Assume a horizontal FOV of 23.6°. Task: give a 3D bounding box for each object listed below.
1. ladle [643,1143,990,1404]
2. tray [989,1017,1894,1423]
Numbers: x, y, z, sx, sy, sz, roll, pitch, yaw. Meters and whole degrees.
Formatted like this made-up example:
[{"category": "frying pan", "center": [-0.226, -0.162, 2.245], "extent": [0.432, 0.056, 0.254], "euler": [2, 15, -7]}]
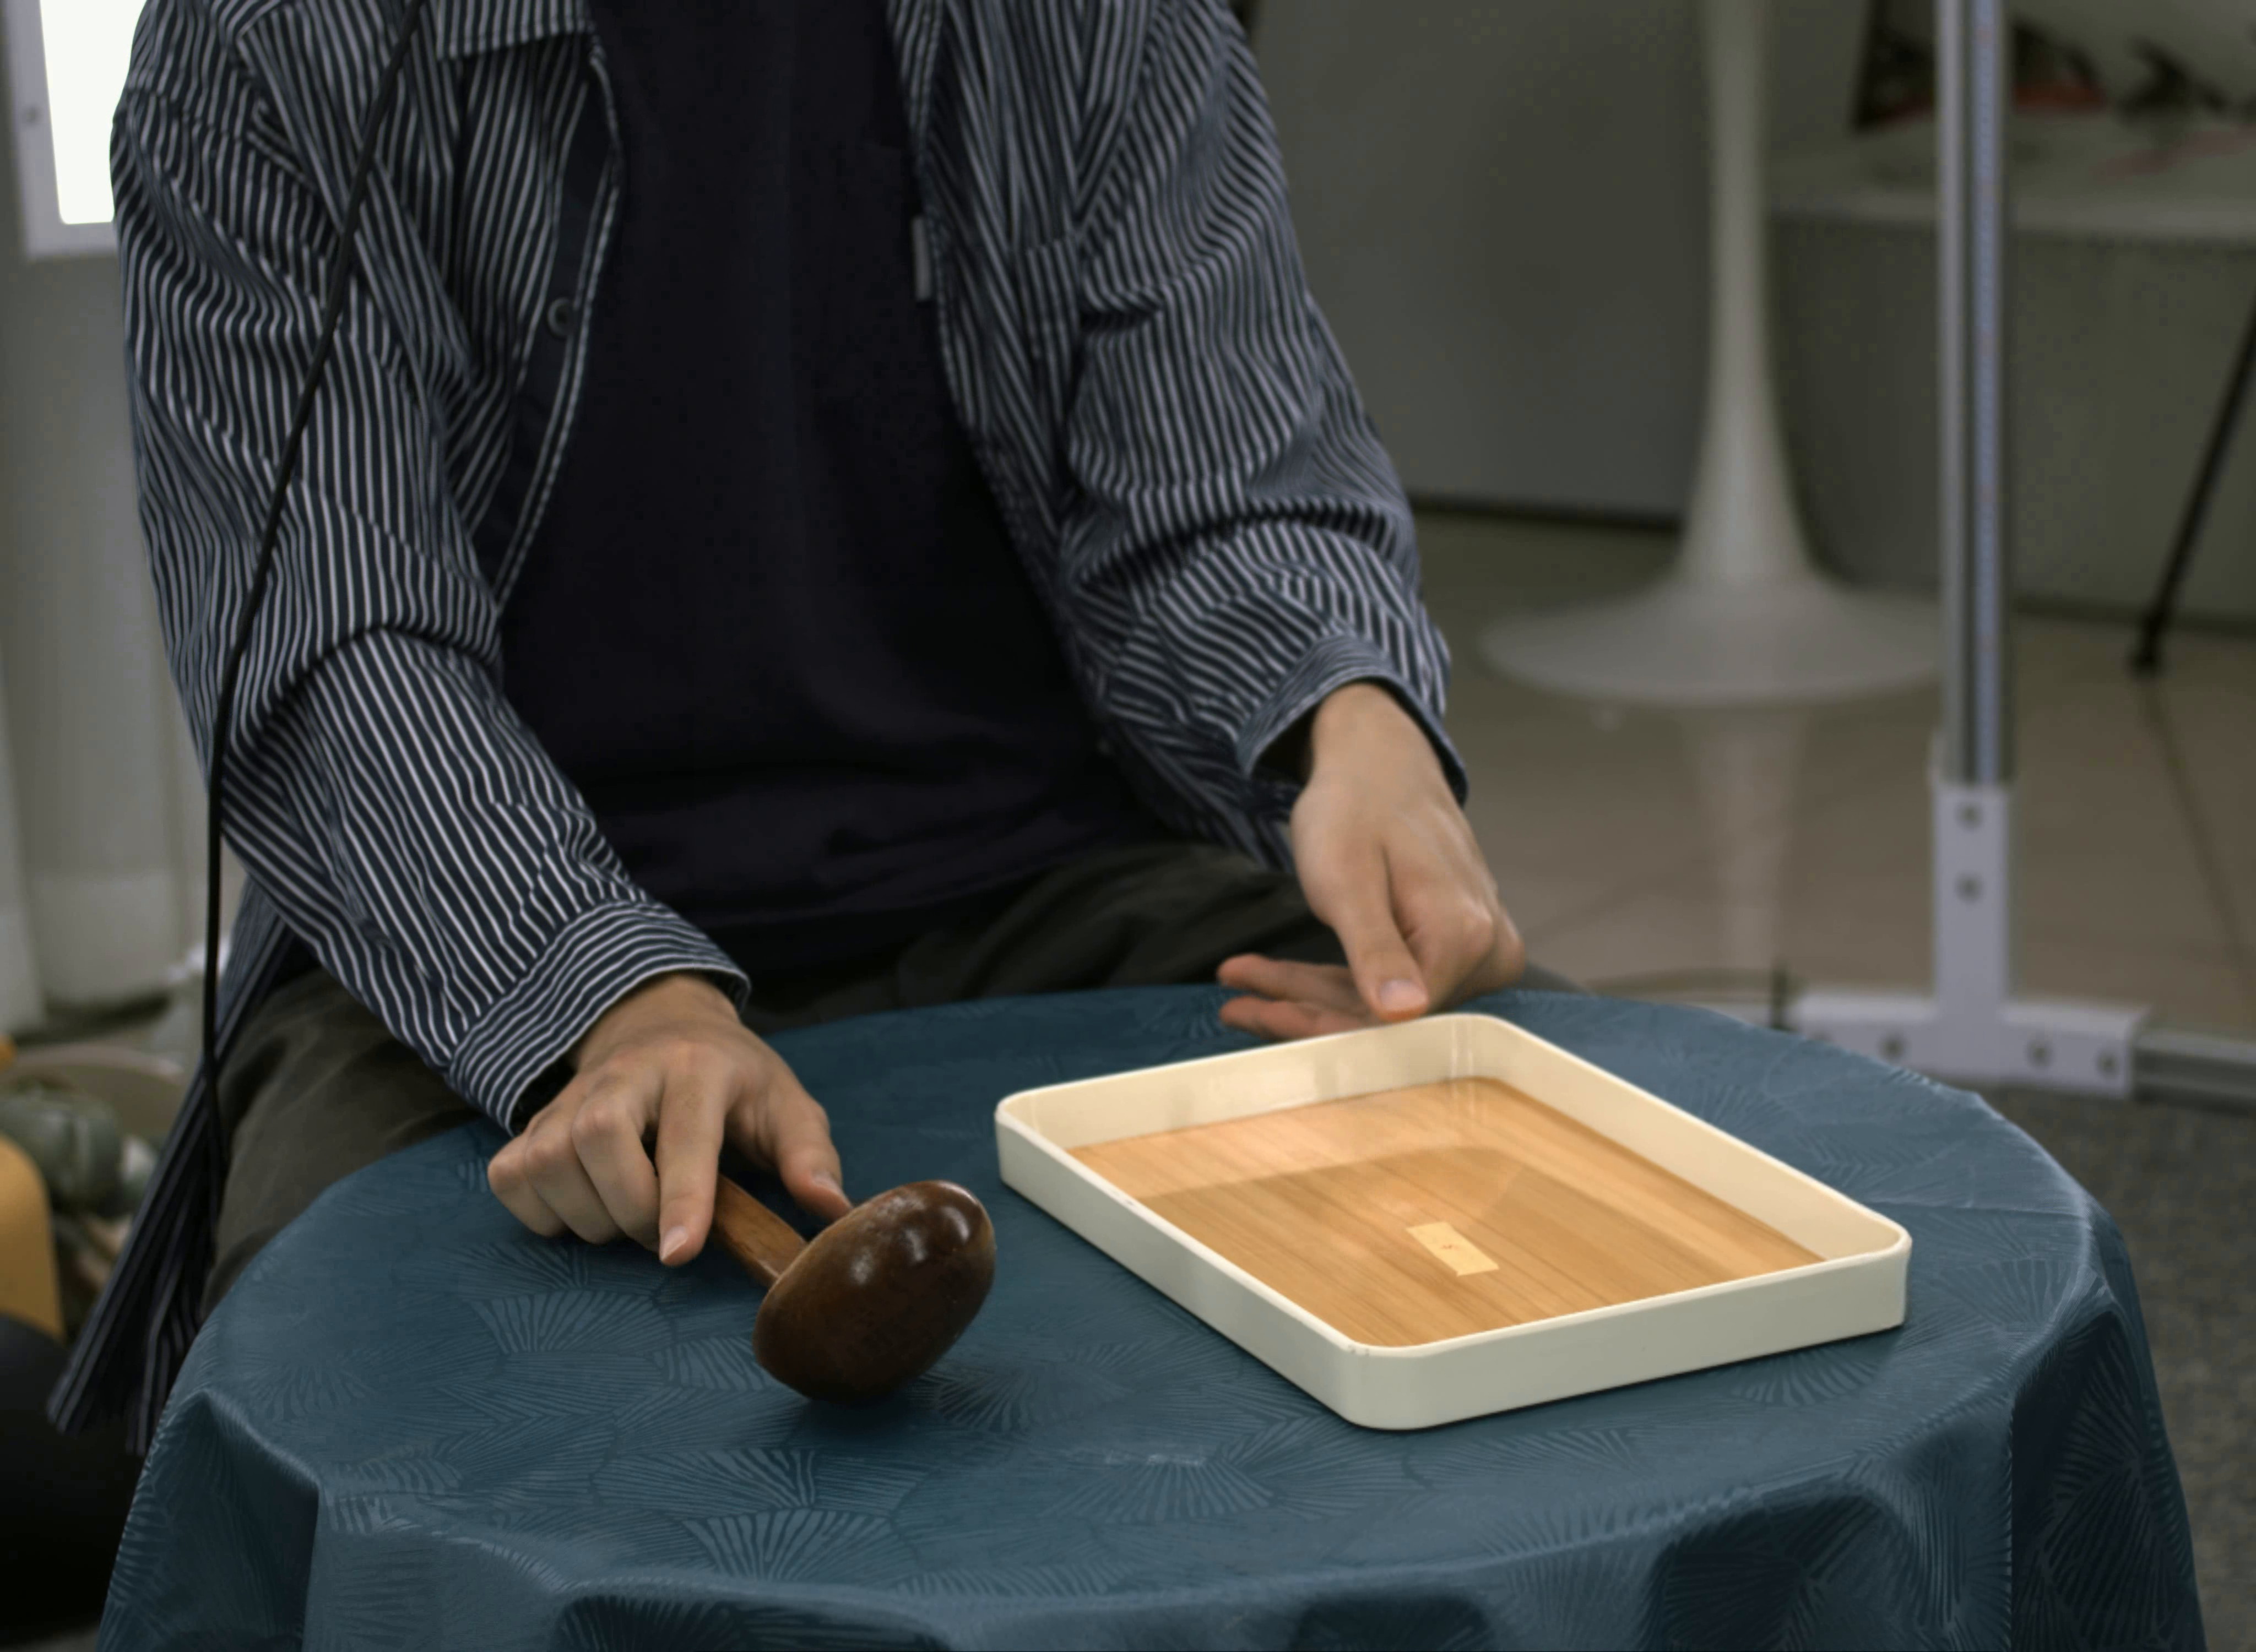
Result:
[{"category": "ladle", "center": [-0.115, 0.116, 1.668], "extent": [0.081, 0.077, 0.277], "euler": [-26, 21, -15]}, {"category": "tray", "center": [0.092, 0.119, 1.700], "extent": [0.187, 0.028, 0.303], "euler": [-9, 14, -20]}]
